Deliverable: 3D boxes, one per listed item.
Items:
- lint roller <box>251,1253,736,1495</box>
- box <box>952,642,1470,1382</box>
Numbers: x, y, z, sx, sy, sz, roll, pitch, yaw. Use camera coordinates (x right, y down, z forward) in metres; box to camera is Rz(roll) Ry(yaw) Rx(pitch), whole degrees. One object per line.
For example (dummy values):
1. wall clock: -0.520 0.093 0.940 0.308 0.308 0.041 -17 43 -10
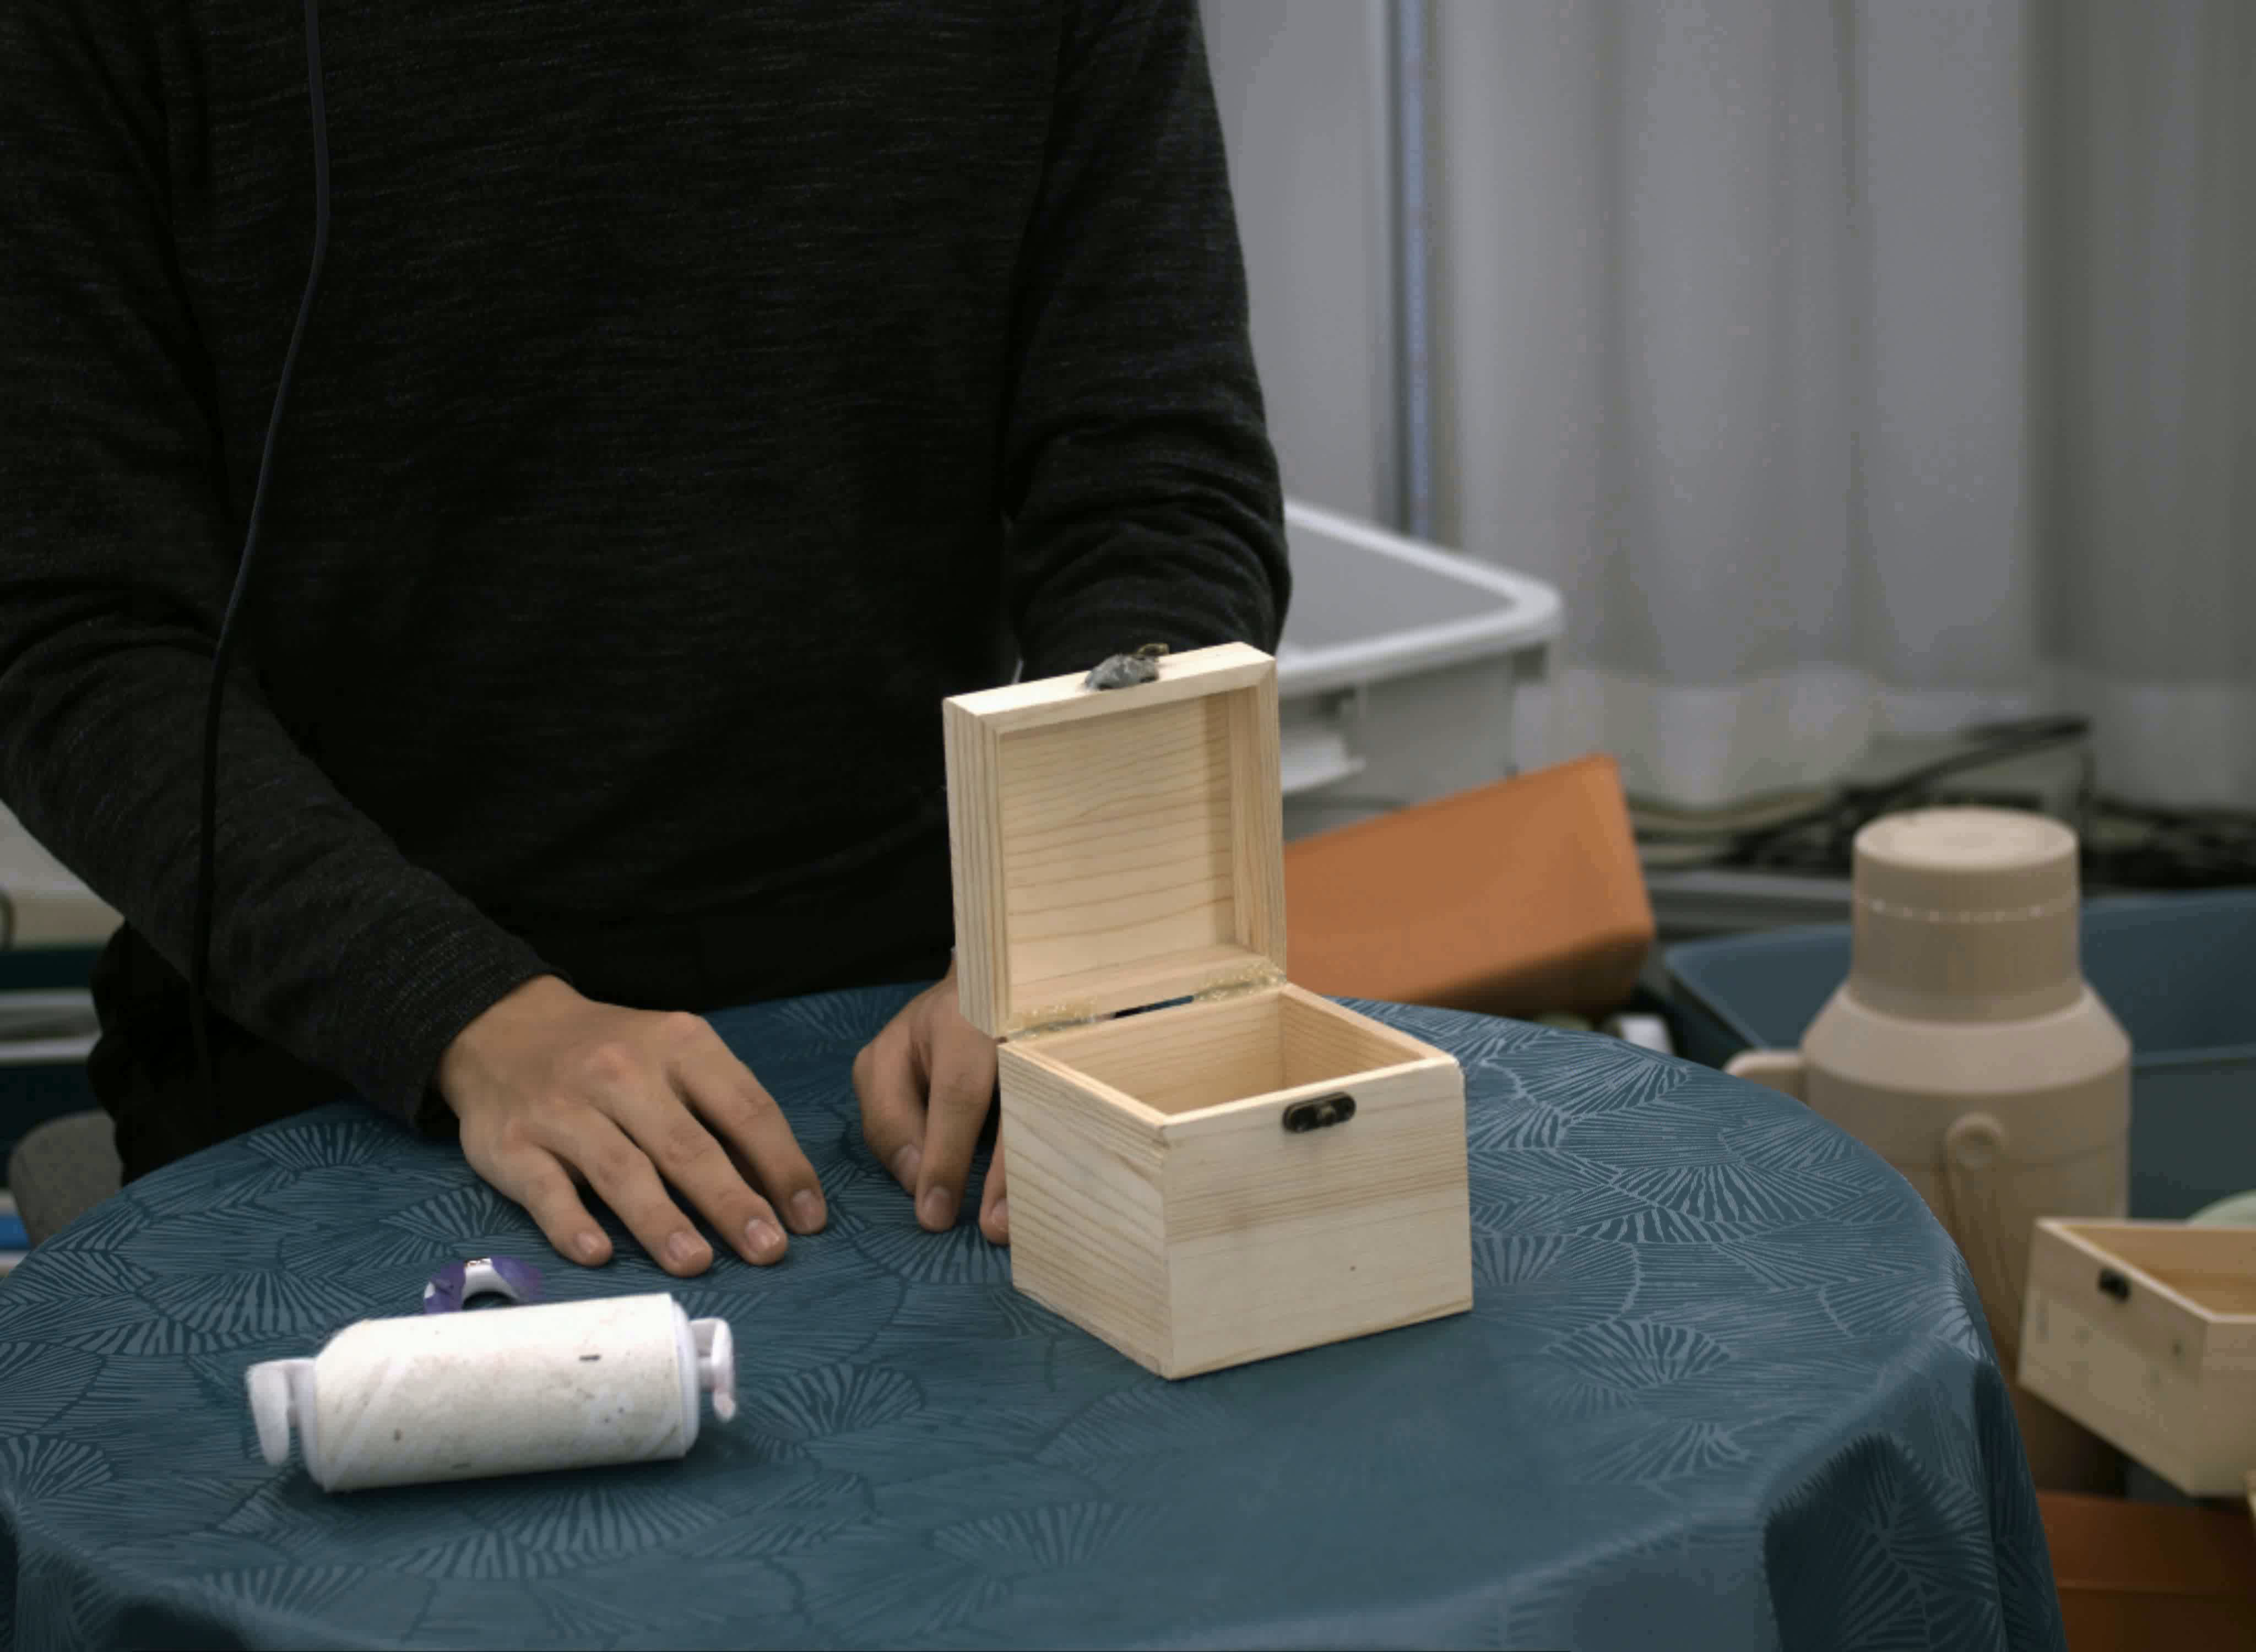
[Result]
1. lint roller: -0.182 0.139 1.566 0.132 0.050 0.182 -6 16 -5
2. box: 0.025 0.050 1.599 0.102 0.184 0.135 -9 15 -27
